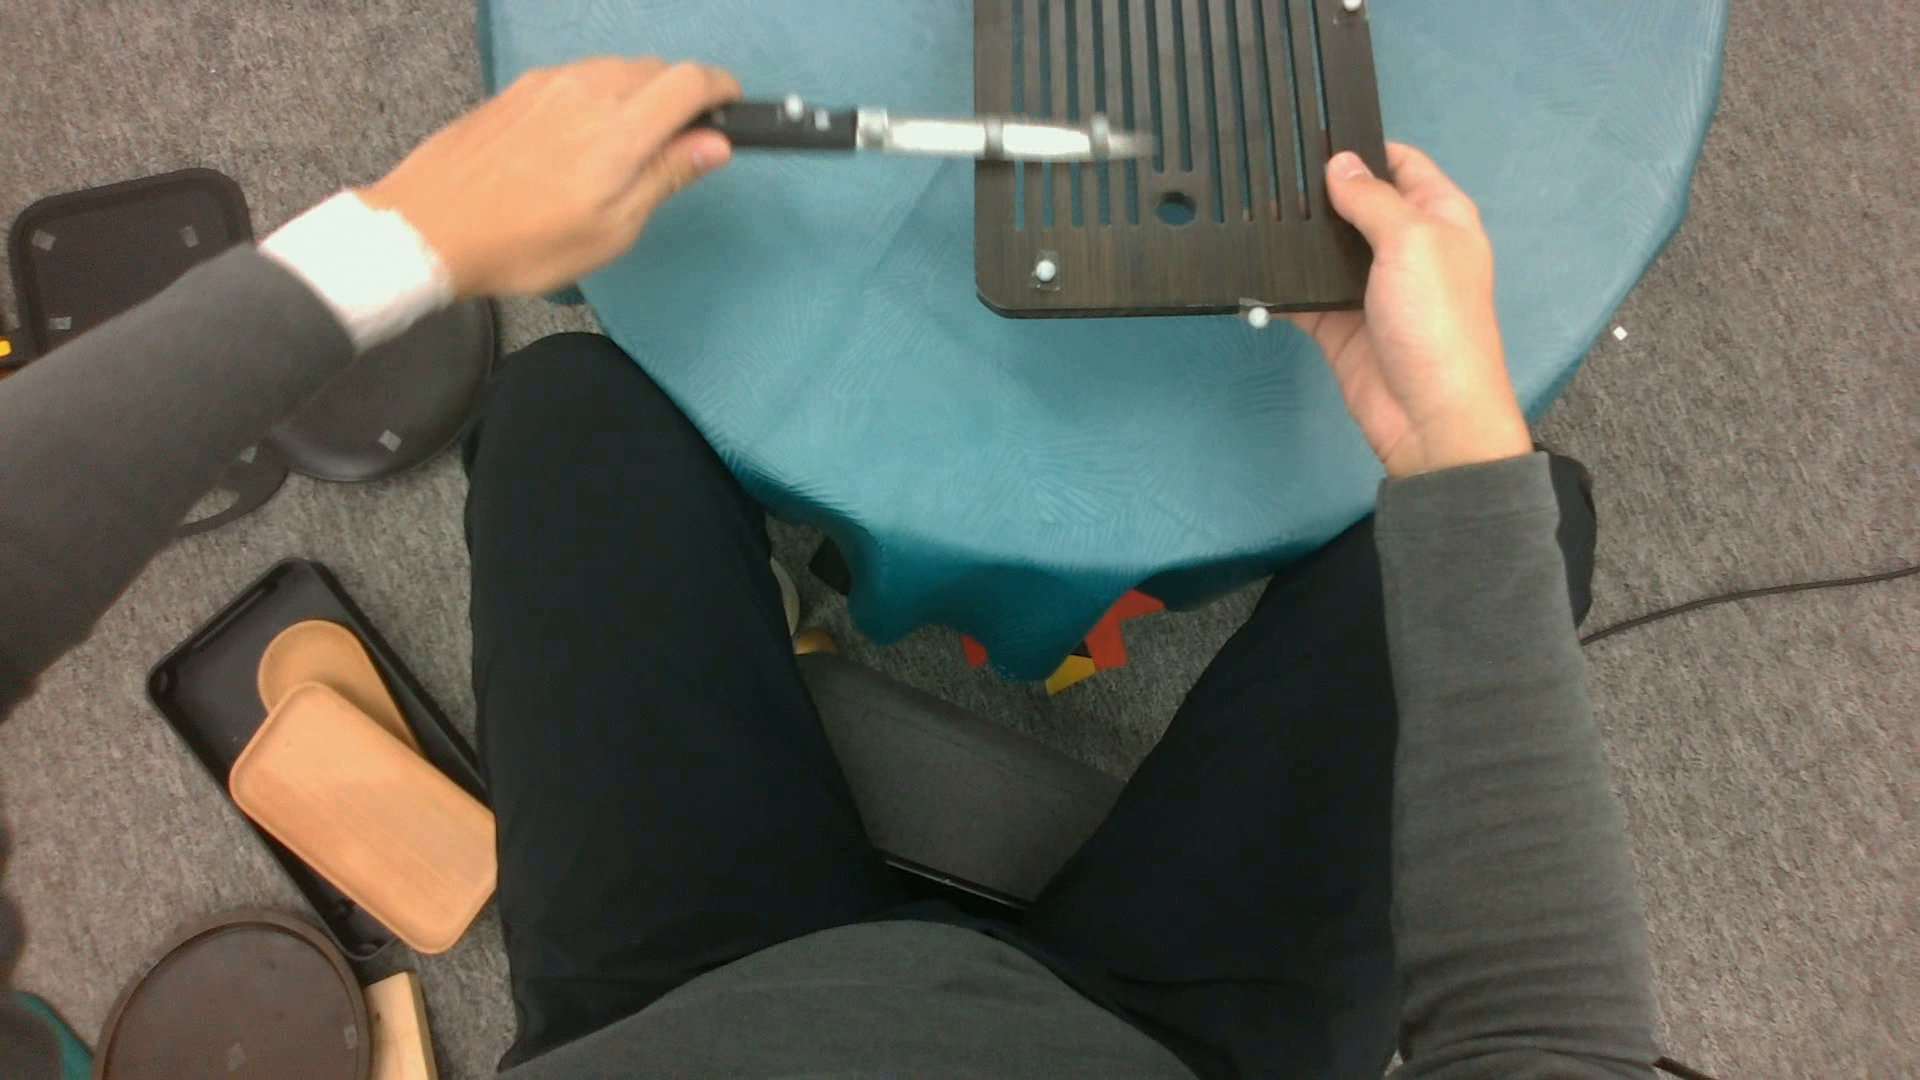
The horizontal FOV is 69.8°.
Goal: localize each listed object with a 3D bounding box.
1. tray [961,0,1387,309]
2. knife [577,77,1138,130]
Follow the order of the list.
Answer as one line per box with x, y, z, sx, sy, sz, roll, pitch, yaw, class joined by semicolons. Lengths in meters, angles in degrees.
0.085;-0.236;0.613;0.170;0.018;0.307;-1;68;1;tray
-0.043;-0.184;0.582;0.238;0.016;0.024;0;58;-2;knife
